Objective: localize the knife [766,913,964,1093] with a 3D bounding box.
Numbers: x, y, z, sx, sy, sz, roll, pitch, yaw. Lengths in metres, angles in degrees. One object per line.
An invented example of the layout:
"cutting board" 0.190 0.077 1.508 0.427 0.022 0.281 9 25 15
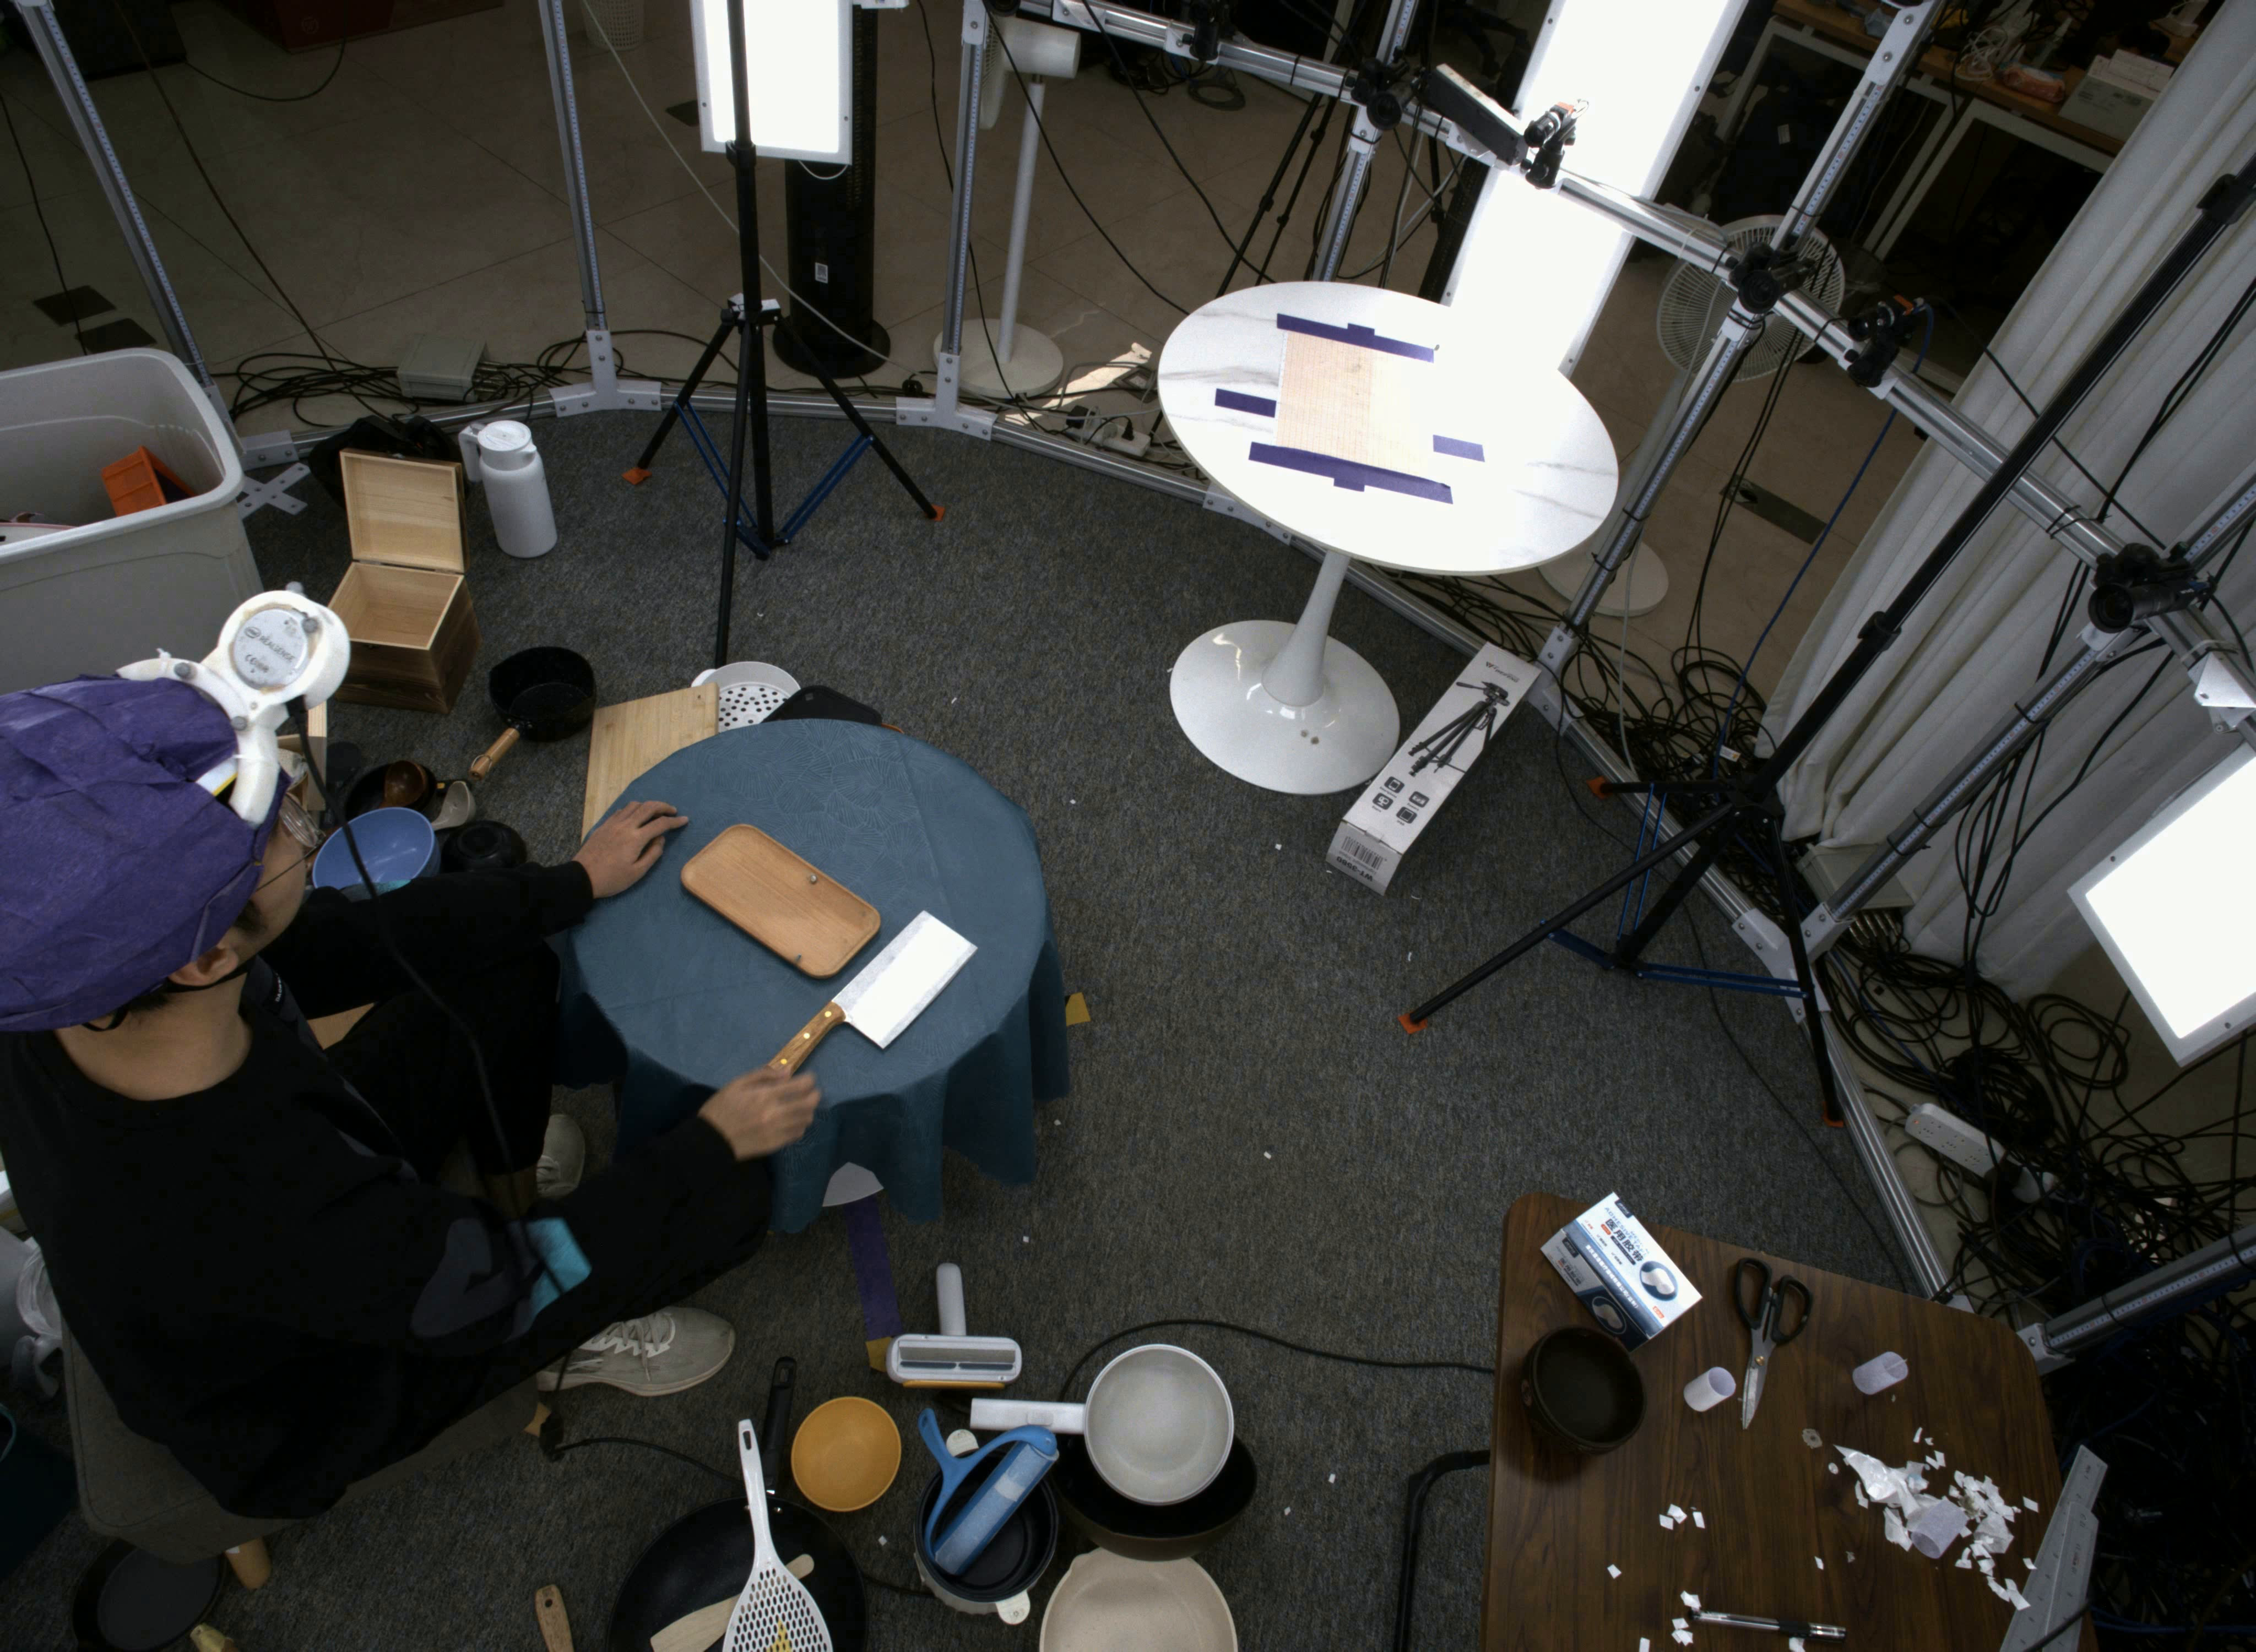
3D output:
"knife" -0.307 0.218 1.572 0.091 0.021 0.305 34 50 10

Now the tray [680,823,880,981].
"tray" -0.438 0.092 1.631 0.246 0.023 0.130 33 50 12
